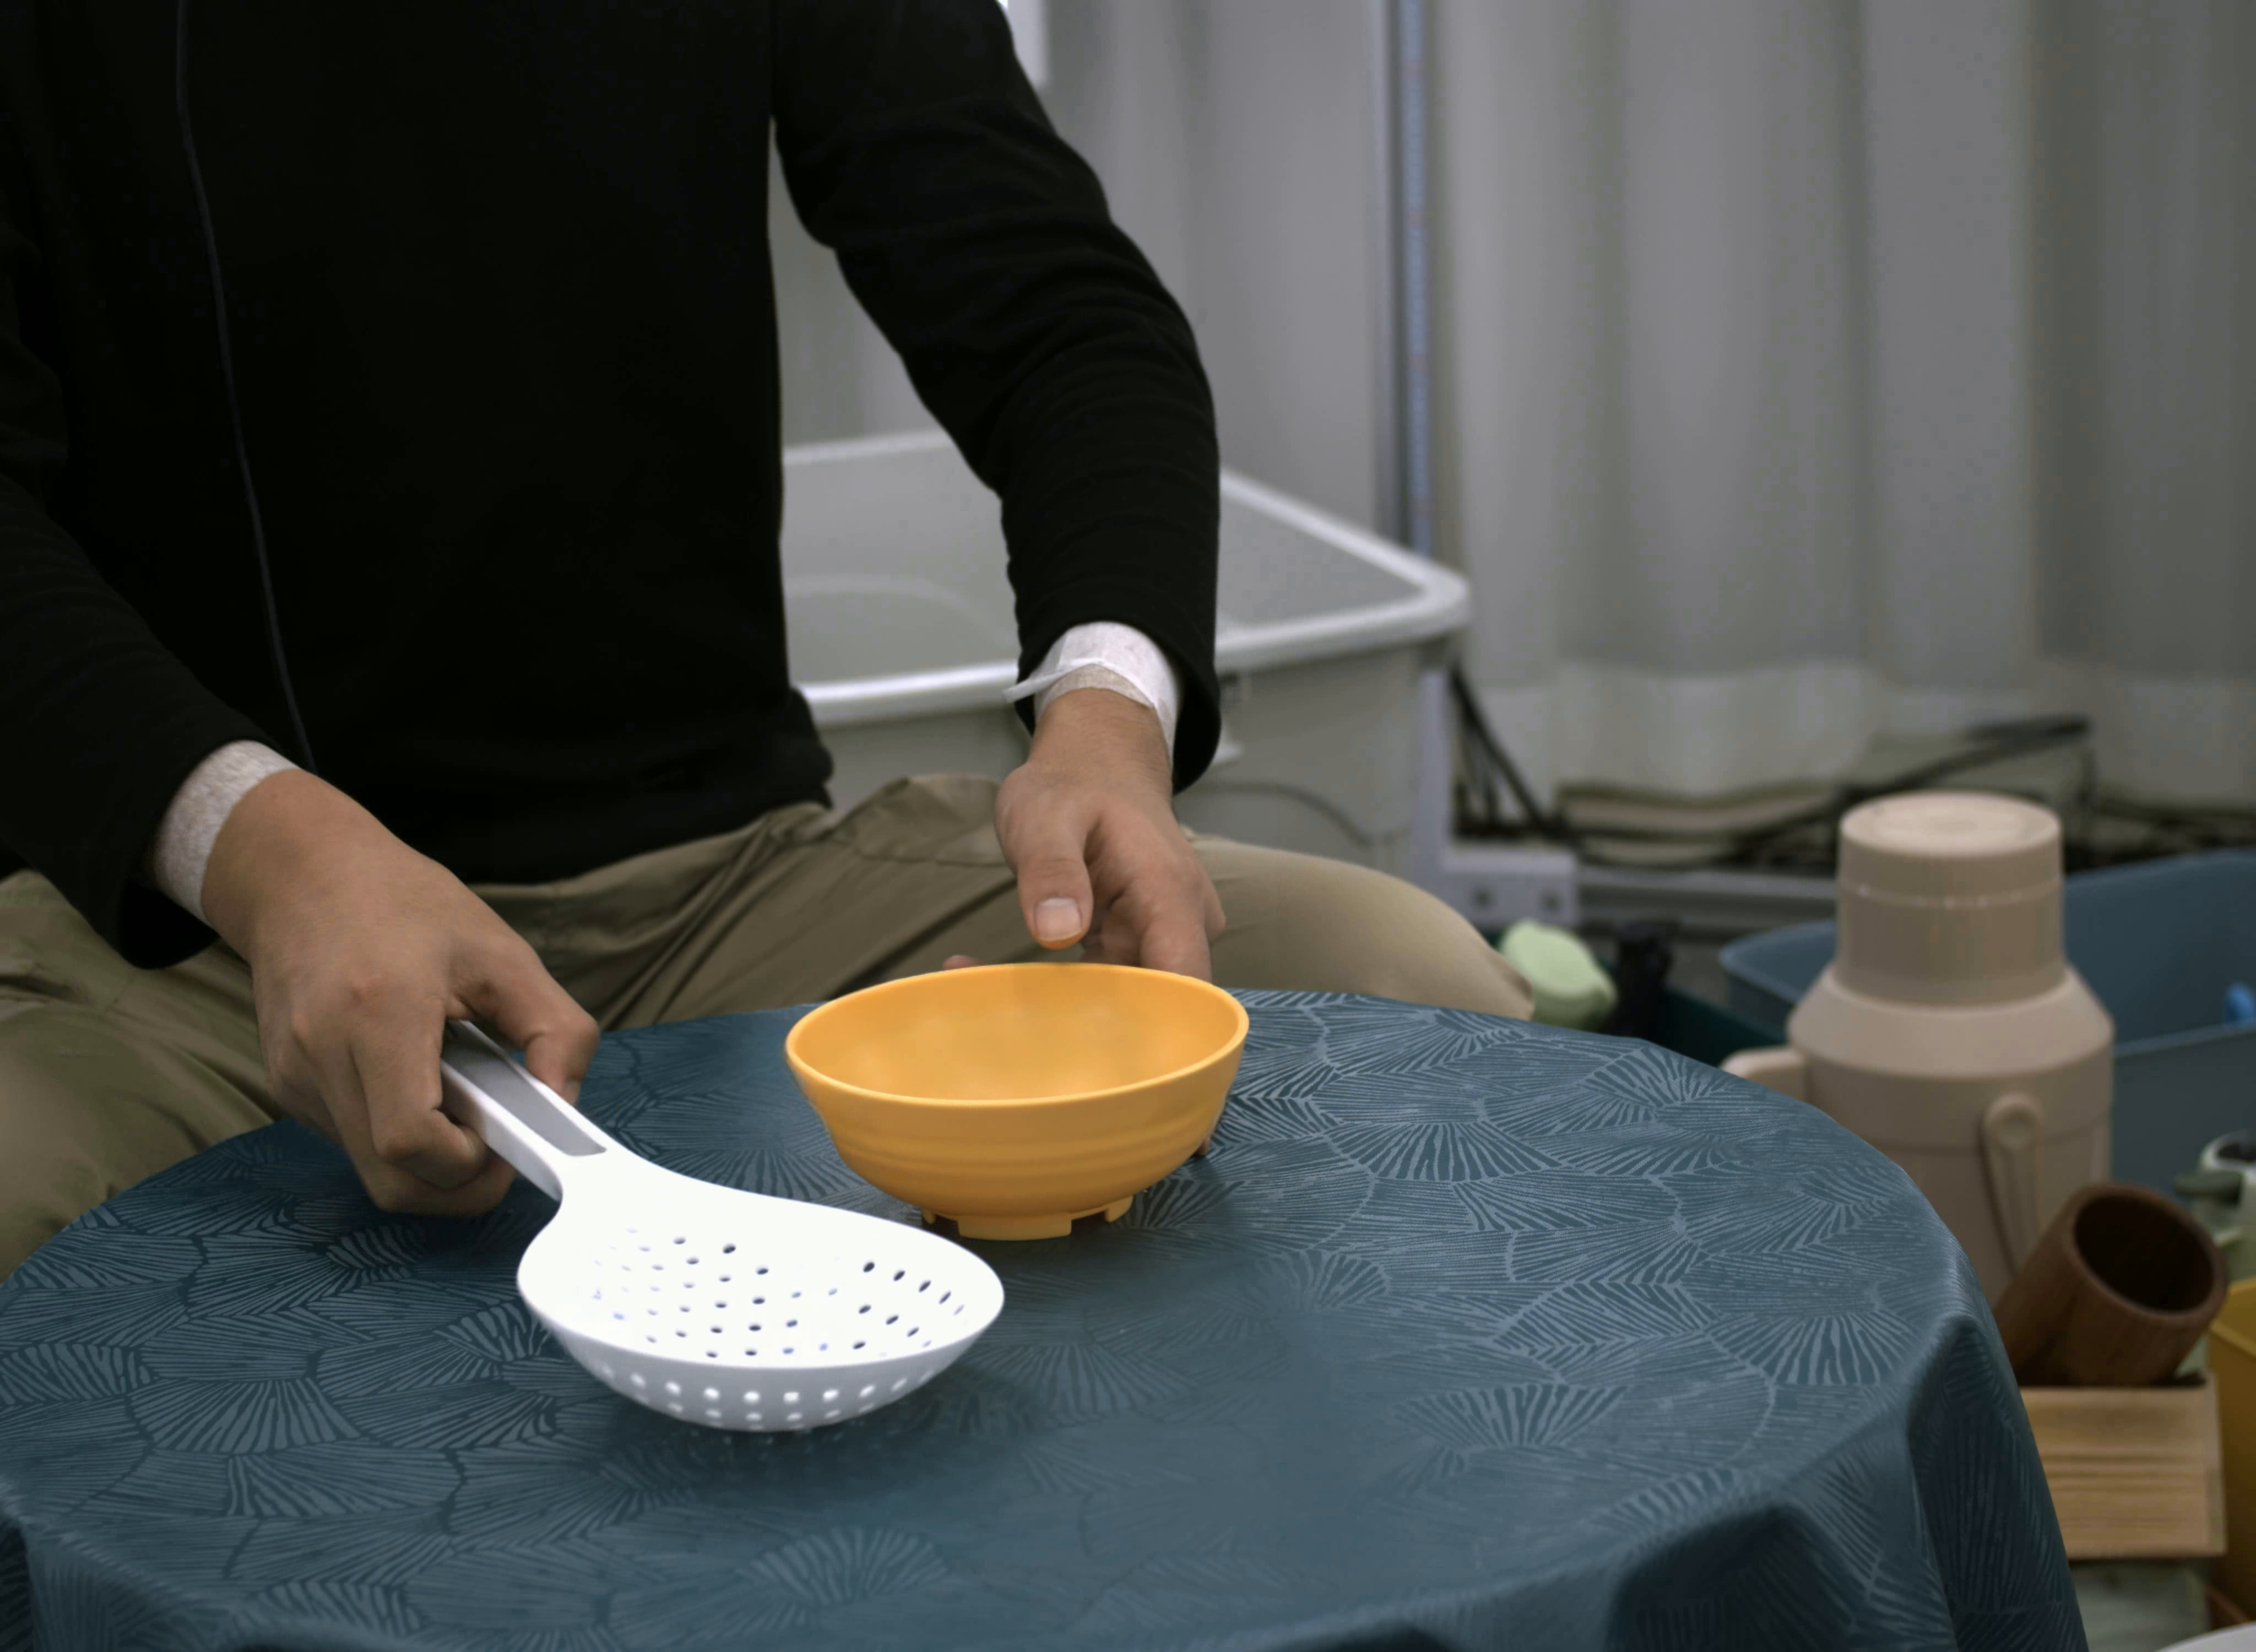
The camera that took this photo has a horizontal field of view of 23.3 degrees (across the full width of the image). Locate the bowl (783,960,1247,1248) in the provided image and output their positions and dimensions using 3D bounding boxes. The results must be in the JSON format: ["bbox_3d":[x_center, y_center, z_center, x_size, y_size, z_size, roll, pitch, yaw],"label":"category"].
[{"bbox_3d":[-0.035,0.092,1.700,0.145,0.060,0.146,-1,16,0],"label":"bowl"}]

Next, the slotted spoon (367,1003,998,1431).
[{"bbox_3d":[-0.155,0.108,1.624,0.135,0.045,0.353,-6,21,-27],"label":"slotted spoon"}]
